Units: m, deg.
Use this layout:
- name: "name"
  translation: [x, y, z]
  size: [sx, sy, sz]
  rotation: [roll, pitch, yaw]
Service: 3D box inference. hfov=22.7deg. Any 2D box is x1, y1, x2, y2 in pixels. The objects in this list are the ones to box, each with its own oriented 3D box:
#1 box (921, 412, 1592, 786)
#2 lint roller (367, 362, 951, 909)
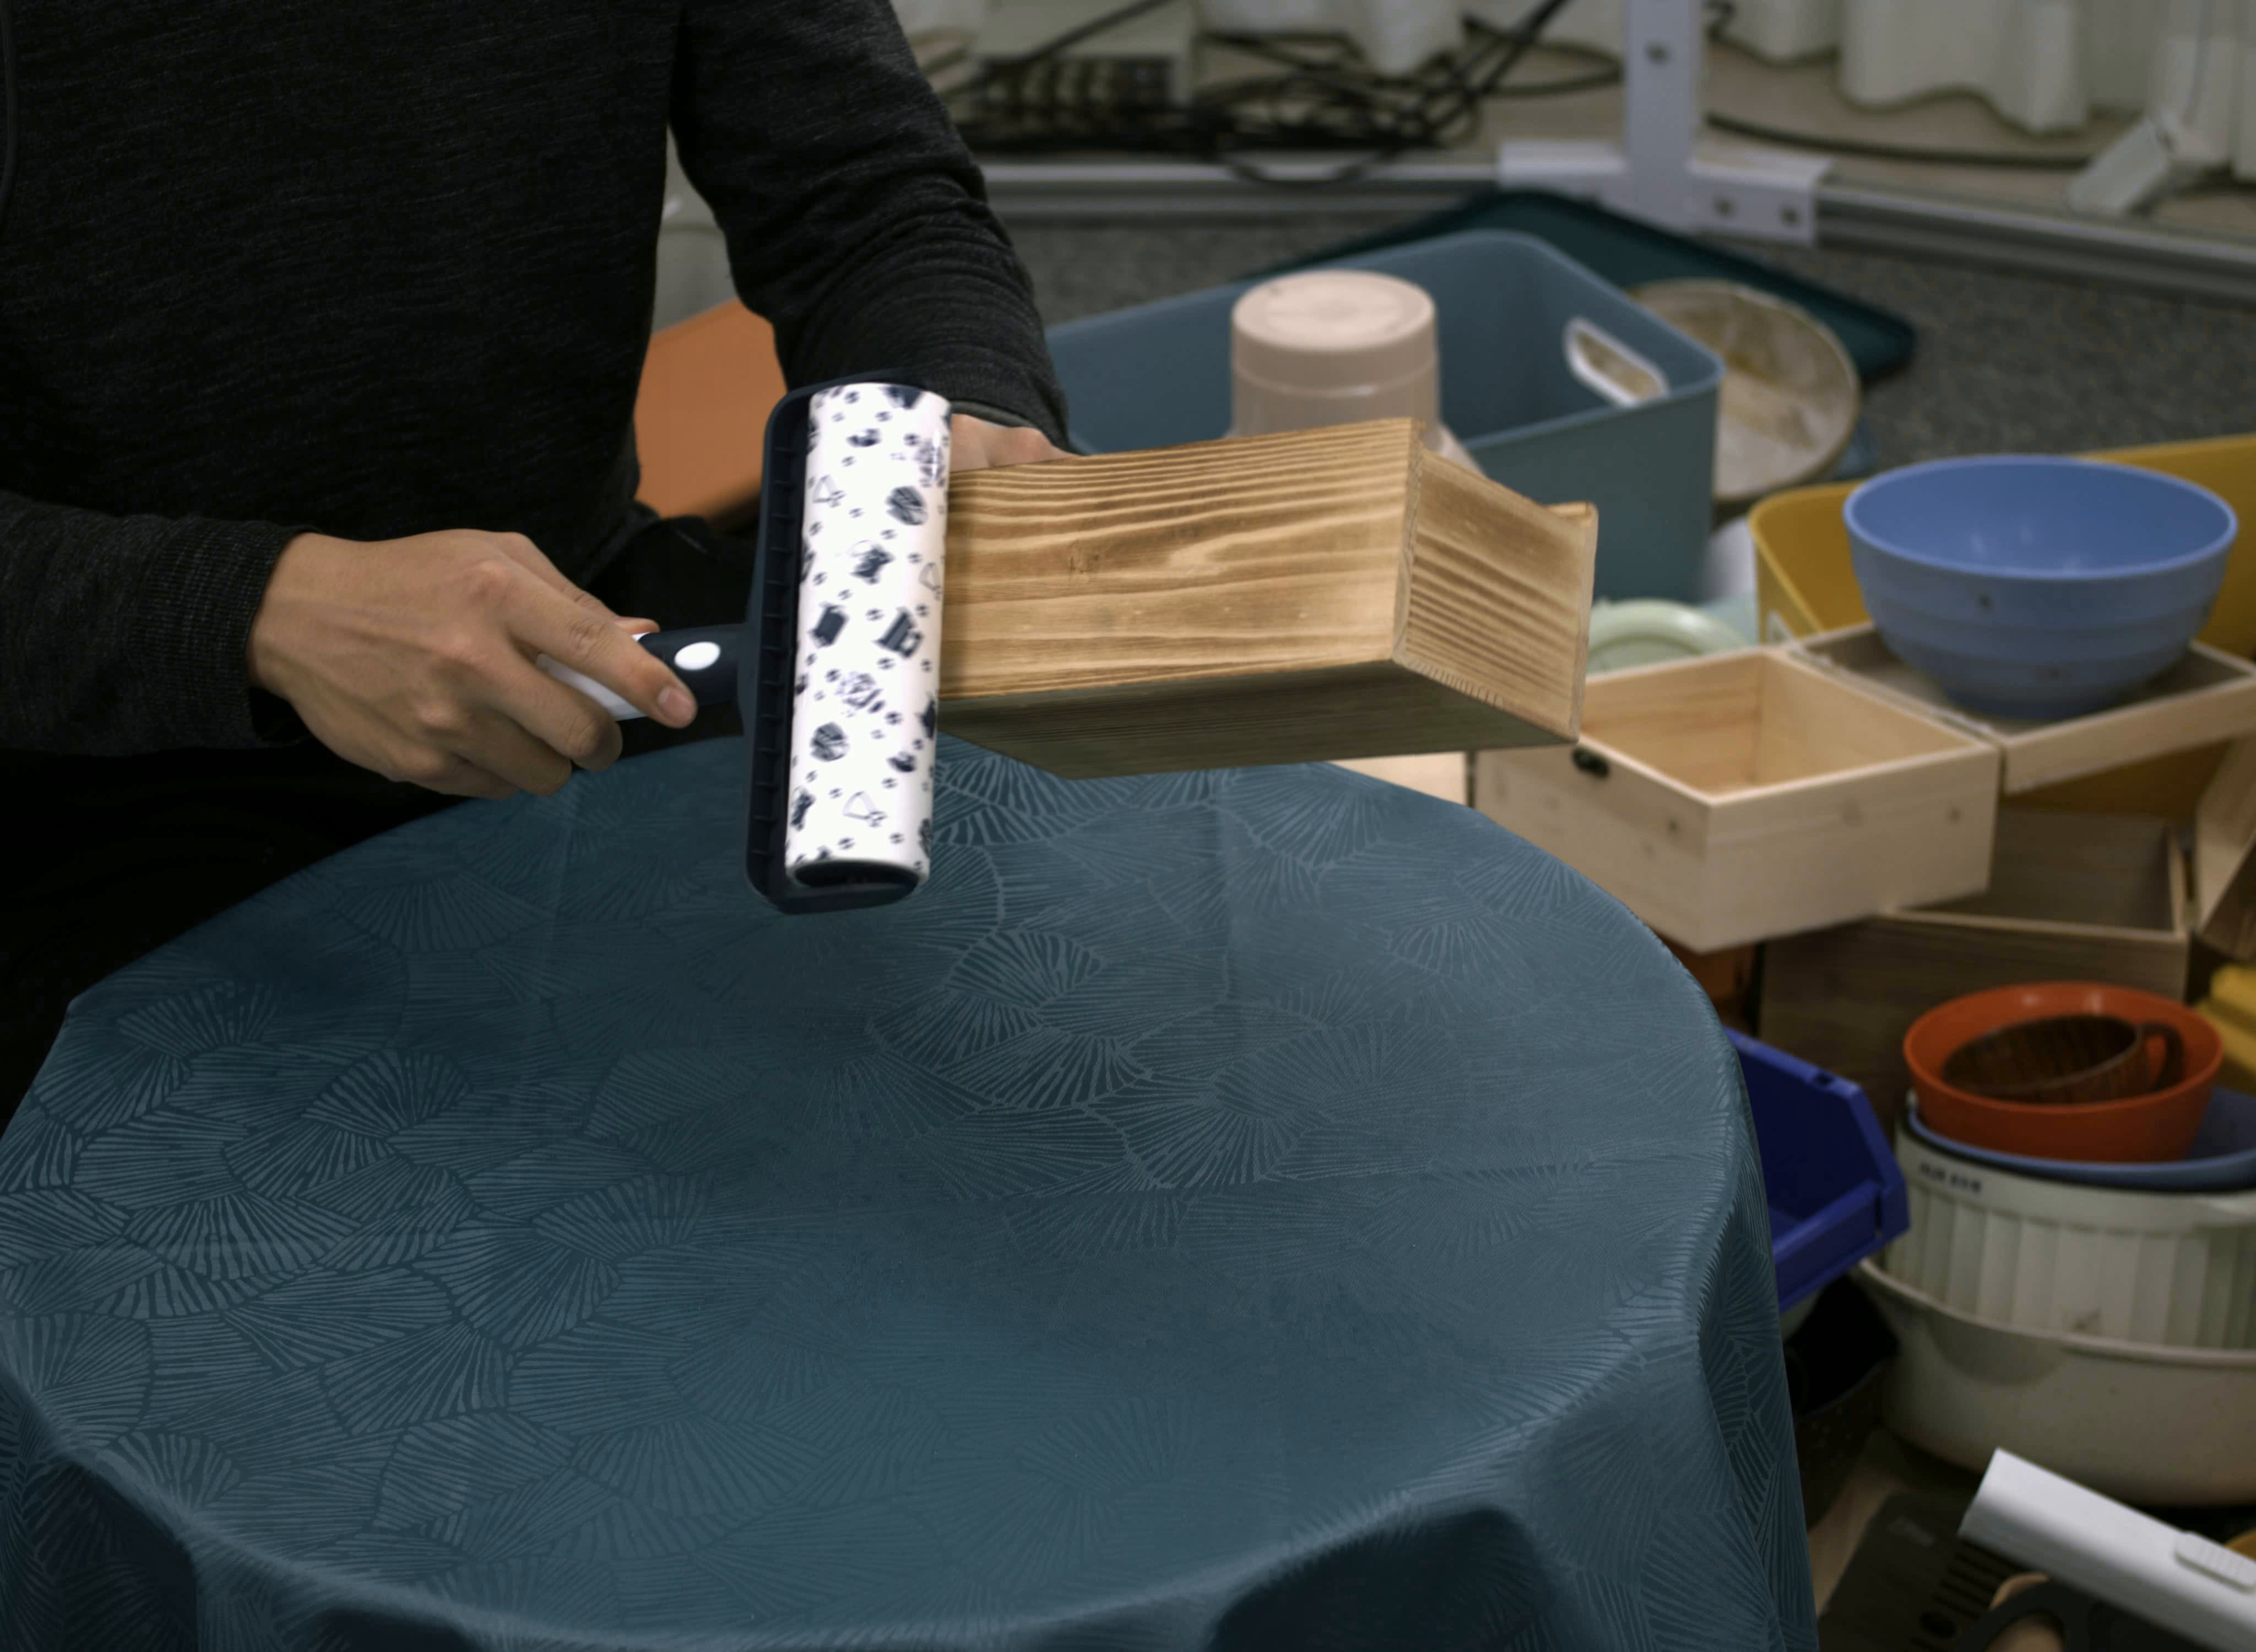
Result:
- name: "box"
  translation: [0.032, -0.071, 1.832]
  size: [0.209, 0.081, 0.107]
  rotation: [-4, -18, 36]
- name: "lint roller"
  translation: [-0.165, -0.050, 1.875]
  size: [0.244, 0.179, 0.050]
  rotation: [-9, -19, 33]
